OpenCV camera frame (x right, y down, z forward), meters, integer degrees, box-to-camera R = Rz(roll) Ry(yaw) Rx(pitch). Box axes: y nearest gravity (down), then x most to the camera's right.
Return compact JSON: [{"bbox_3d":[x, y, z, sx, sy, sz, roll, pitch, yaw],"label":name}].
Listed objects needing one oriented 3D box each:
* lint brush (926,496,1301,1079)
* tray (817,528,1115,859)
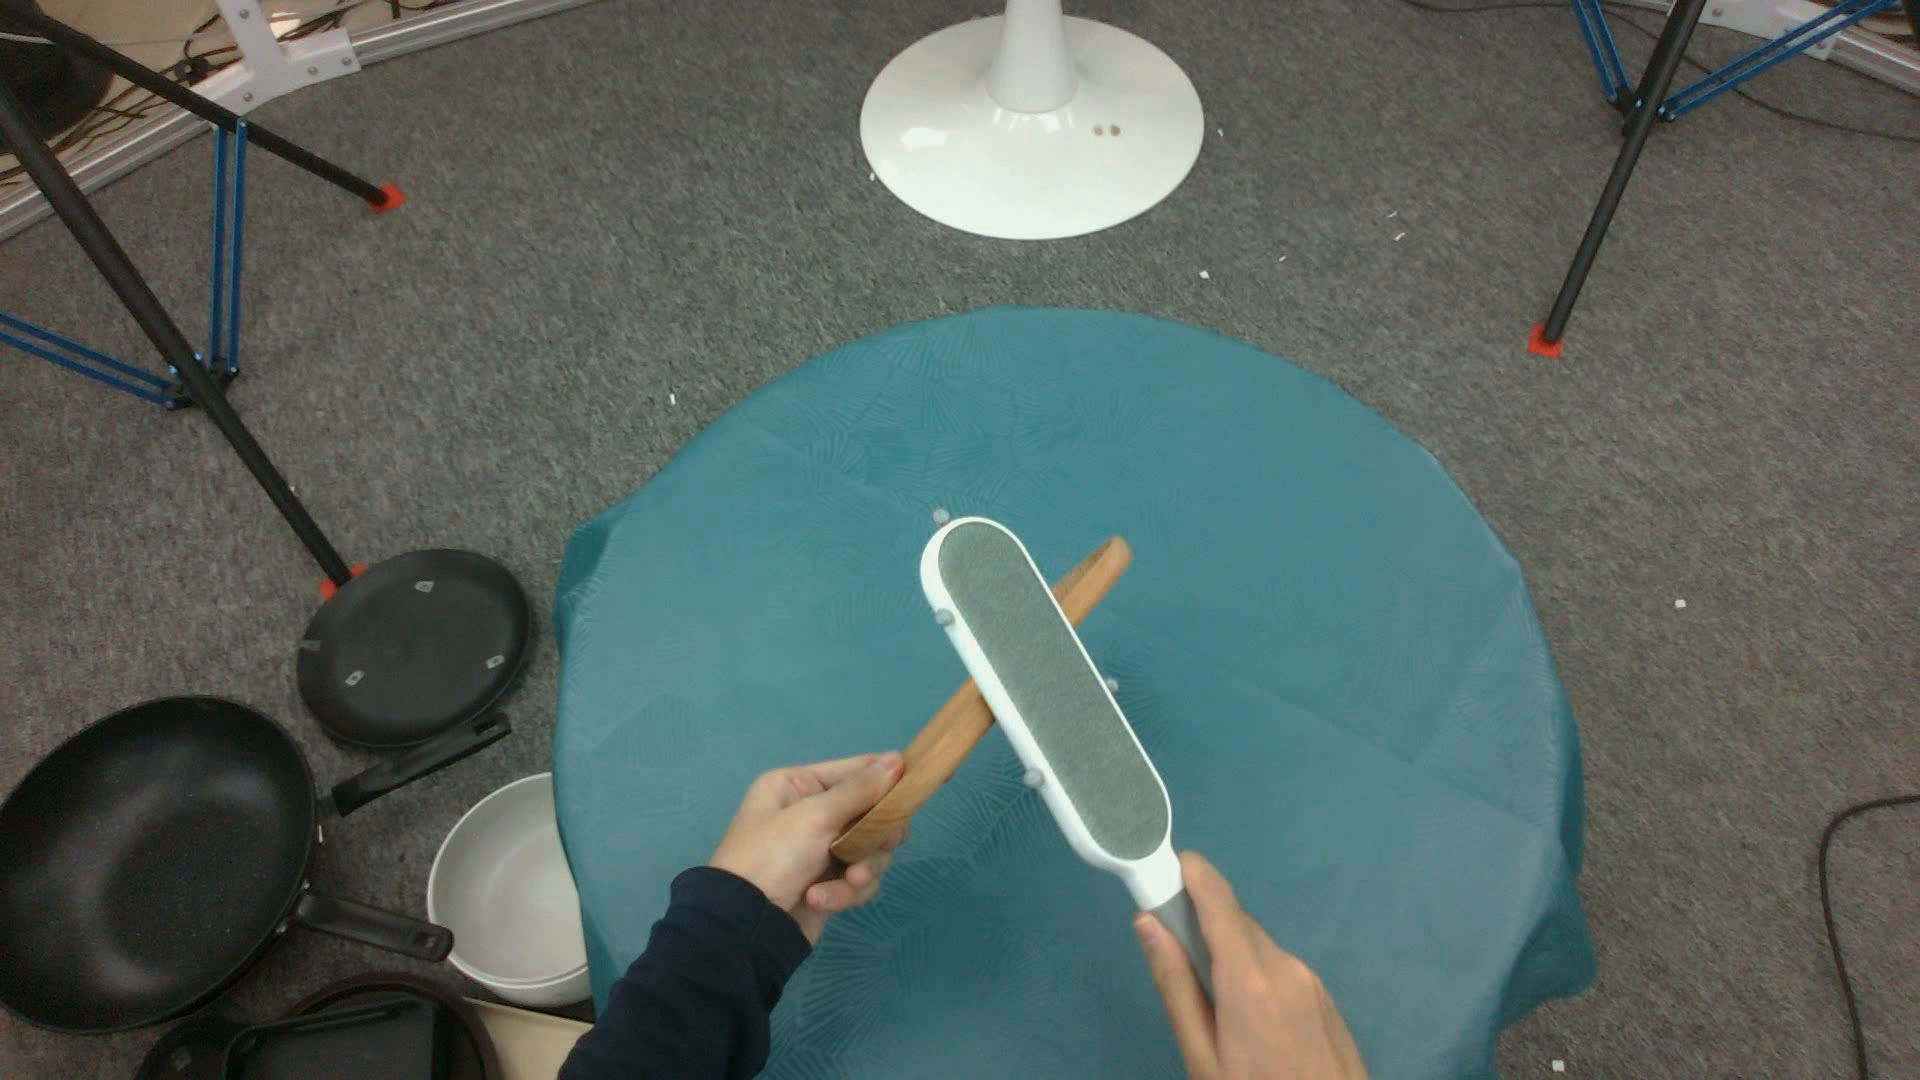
[{"bbox_3d":[0.070,0.116,0.628,0.060,0.021,0.309,-24,82,-45],"label":"lint brush"},{"bbox_3d":[0.009,0.072,0.687,0.020,0.101,0.232,42,52,1],"label":"tray"}]
